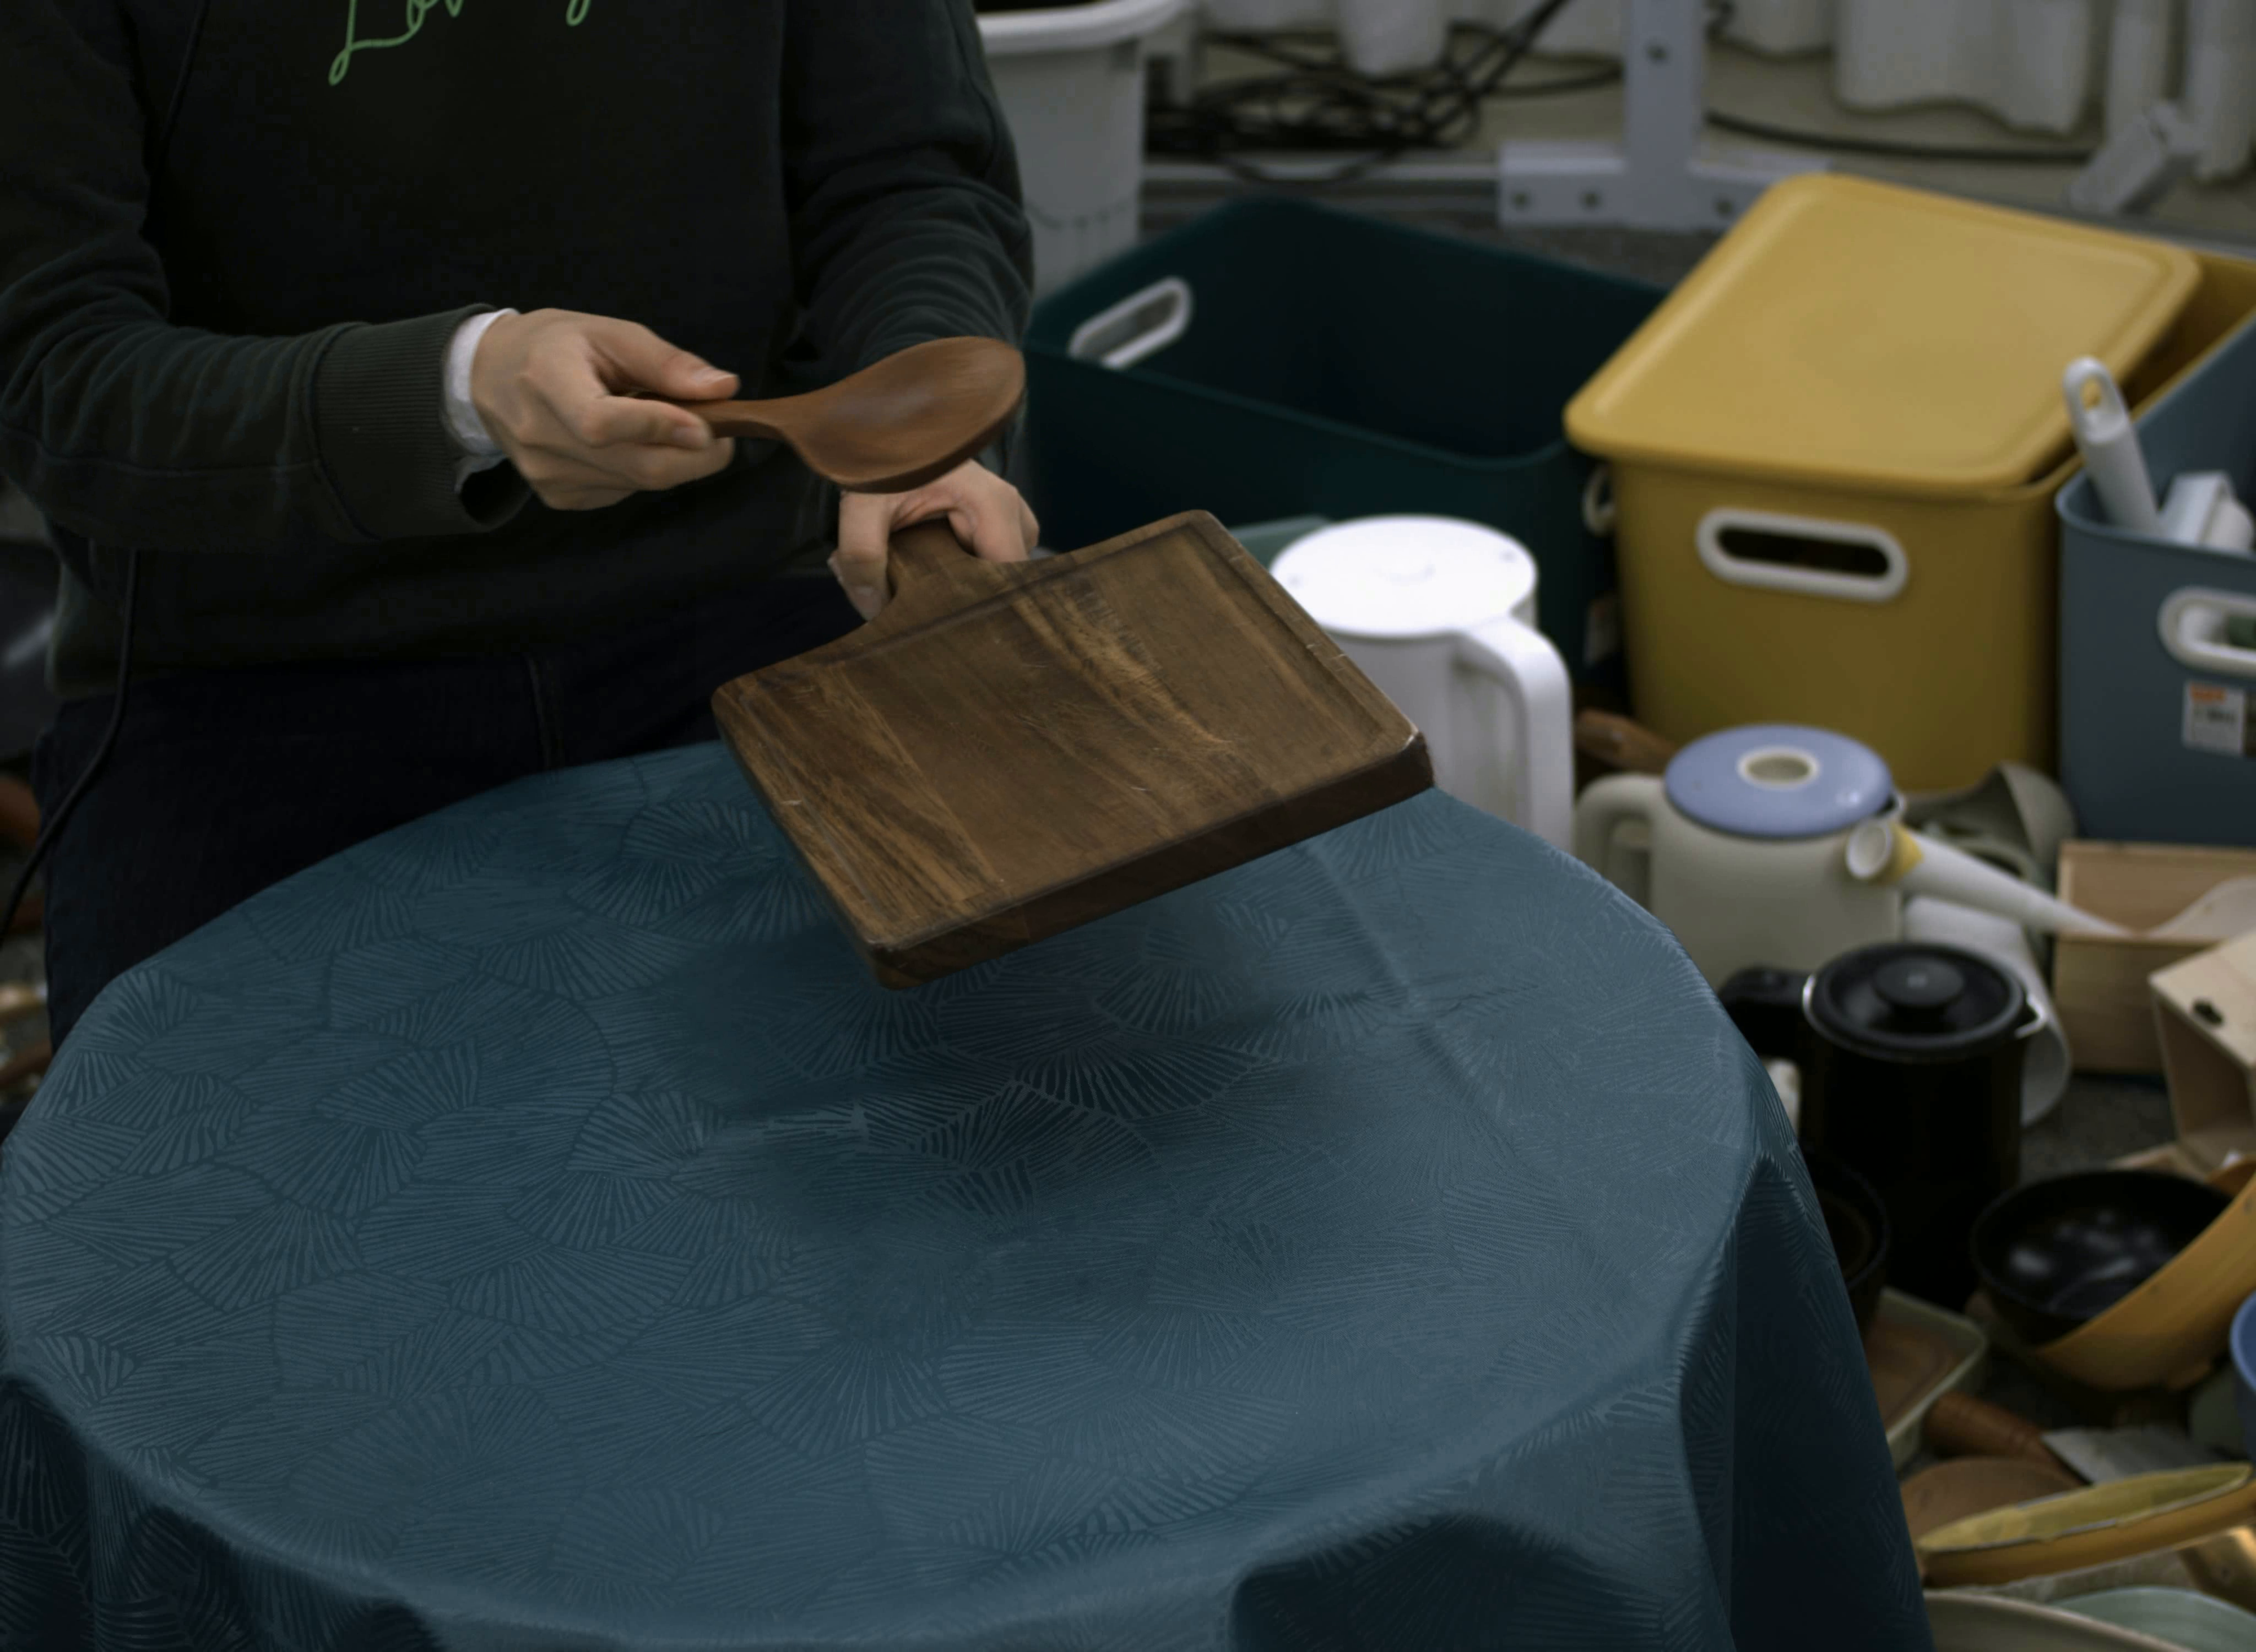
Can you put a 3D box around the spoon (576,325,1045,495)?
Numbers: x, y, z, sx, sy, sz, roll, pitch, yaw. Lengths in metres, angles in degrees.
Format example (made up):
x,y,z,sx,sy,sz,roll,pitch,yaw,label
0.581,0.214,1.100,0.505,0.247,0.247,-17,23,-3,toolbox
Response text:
x,y,z,sx,sy,sz,roll,pitch,yaw,label
-0.112,-0.142,1.952,0.214,0.017,0.077,4,50,40,spoon

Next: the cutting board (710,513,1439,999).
x,y,z,sx,sy,sz,roll,pitch,yaw,label
-0.037,-0.046,1.960,0.201,0.023,0.355,-21,25,-9,cutting board
